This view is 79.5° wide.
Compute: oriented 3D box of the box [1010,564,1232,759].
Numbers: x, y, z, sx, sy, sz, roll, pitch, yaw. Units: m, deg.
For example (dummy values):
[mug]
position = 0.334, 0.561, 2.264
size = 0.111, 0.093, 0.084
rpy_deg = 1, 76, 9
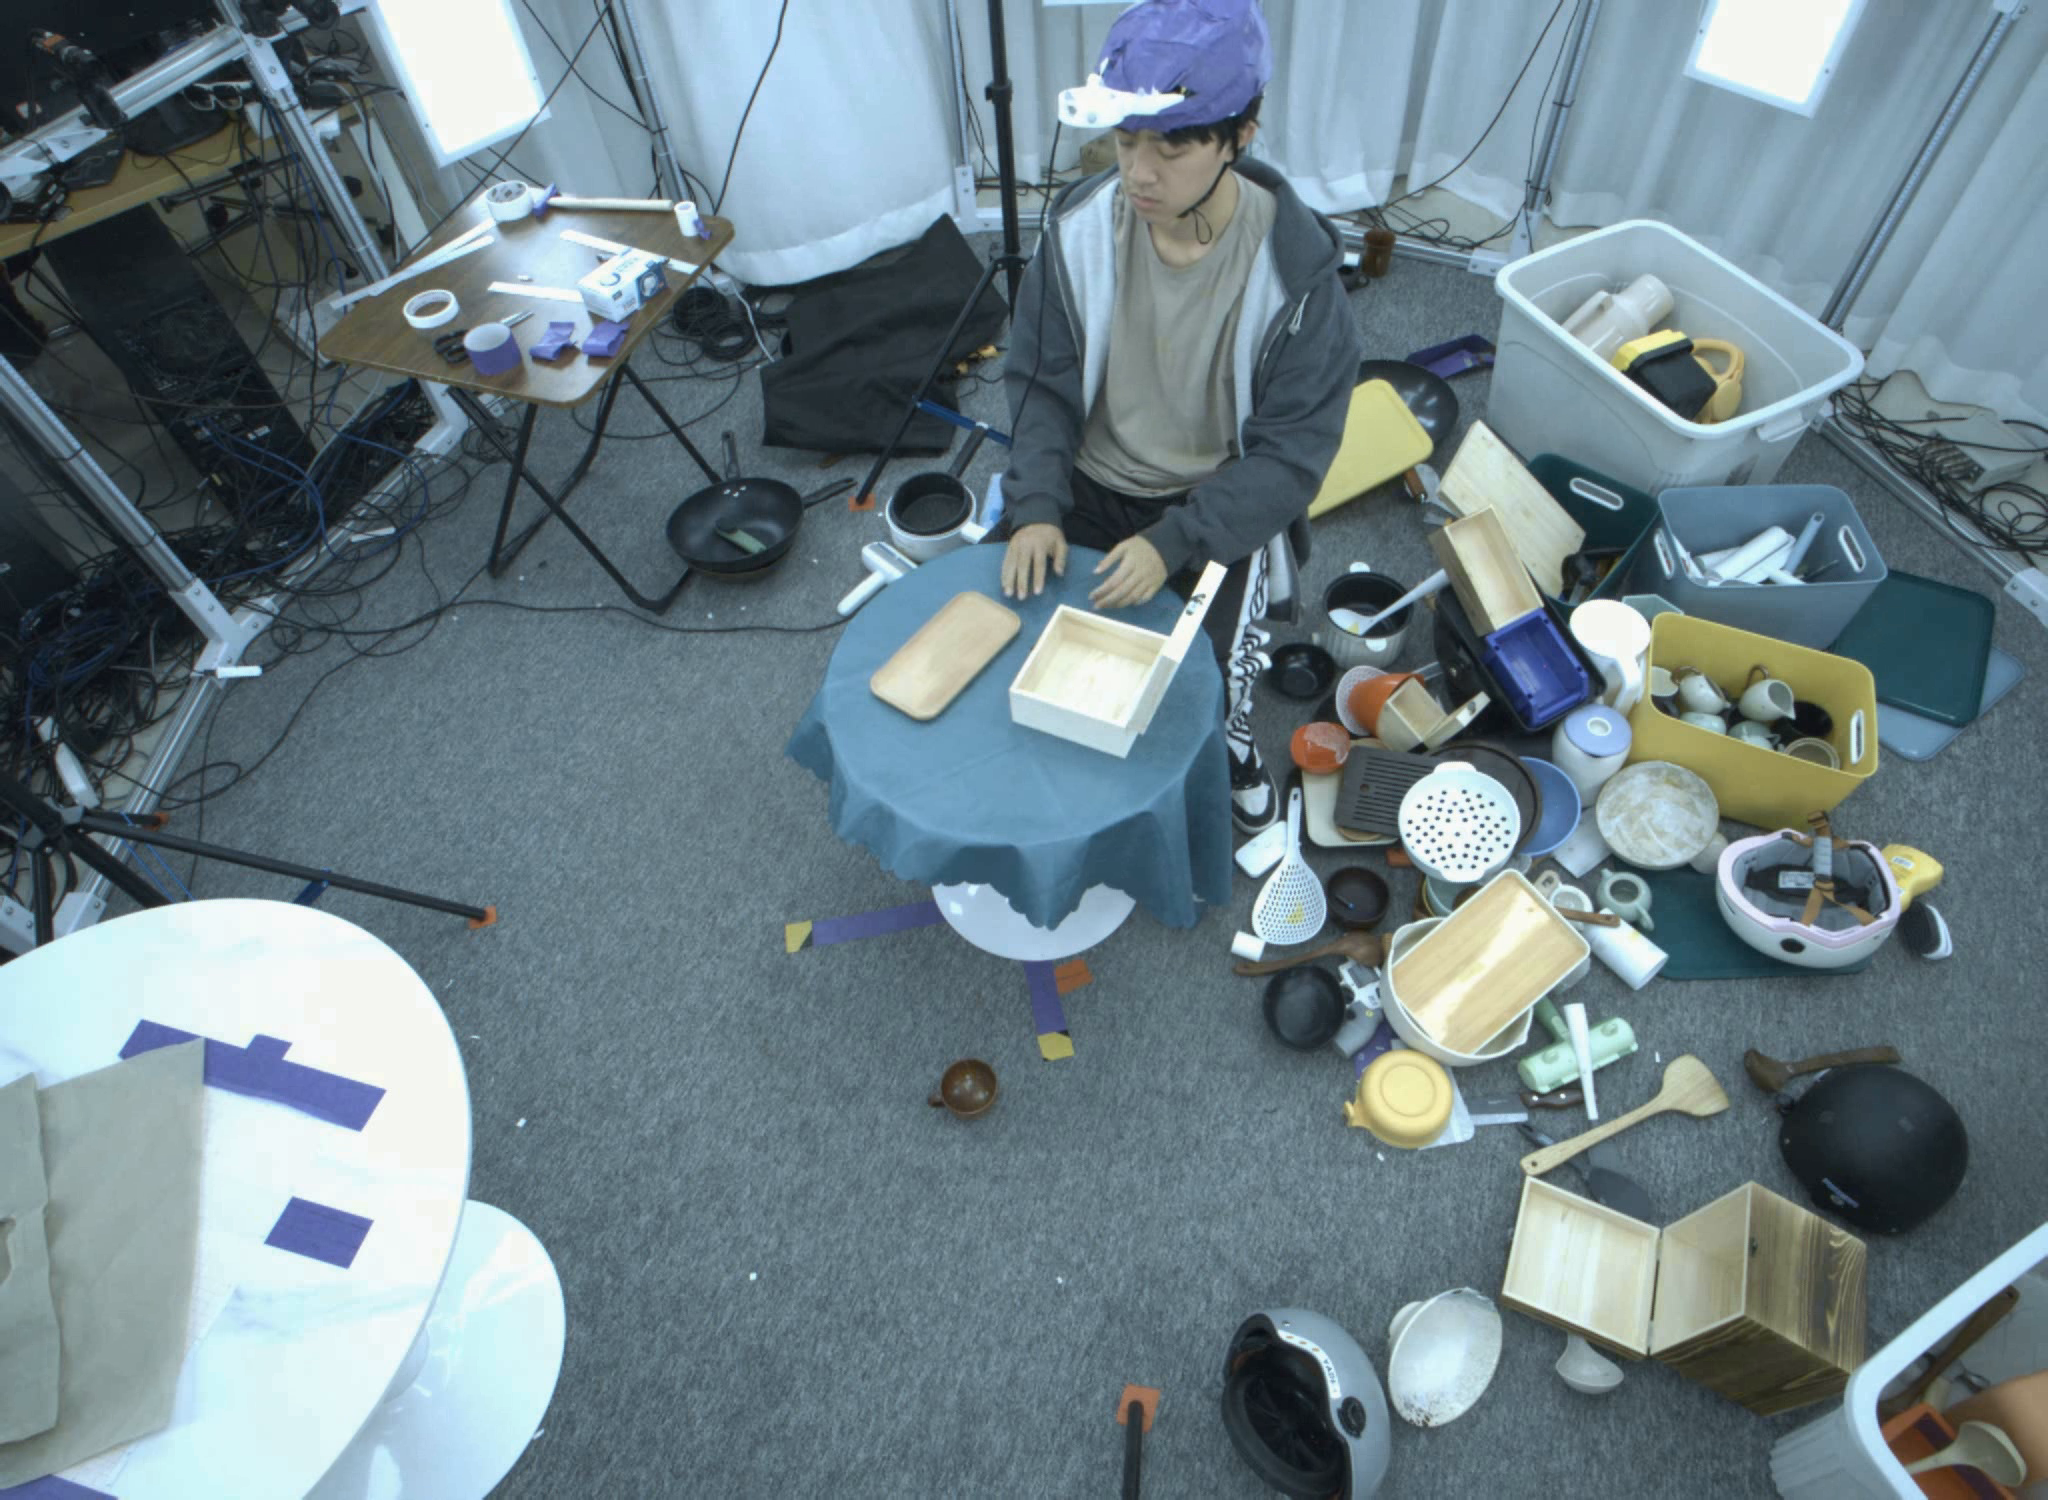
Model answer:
[box]
position = 0.128, -0.145, 1.738
size = 0.262, 0.256, 0.182
rpy_deg = 18, 55, 14

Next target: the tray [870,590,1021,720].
[tray]
position = -0.120, -0.148, 1.888
size = 0.128, 0.023, 0.252
rpy_deg = 32, 61, 19
